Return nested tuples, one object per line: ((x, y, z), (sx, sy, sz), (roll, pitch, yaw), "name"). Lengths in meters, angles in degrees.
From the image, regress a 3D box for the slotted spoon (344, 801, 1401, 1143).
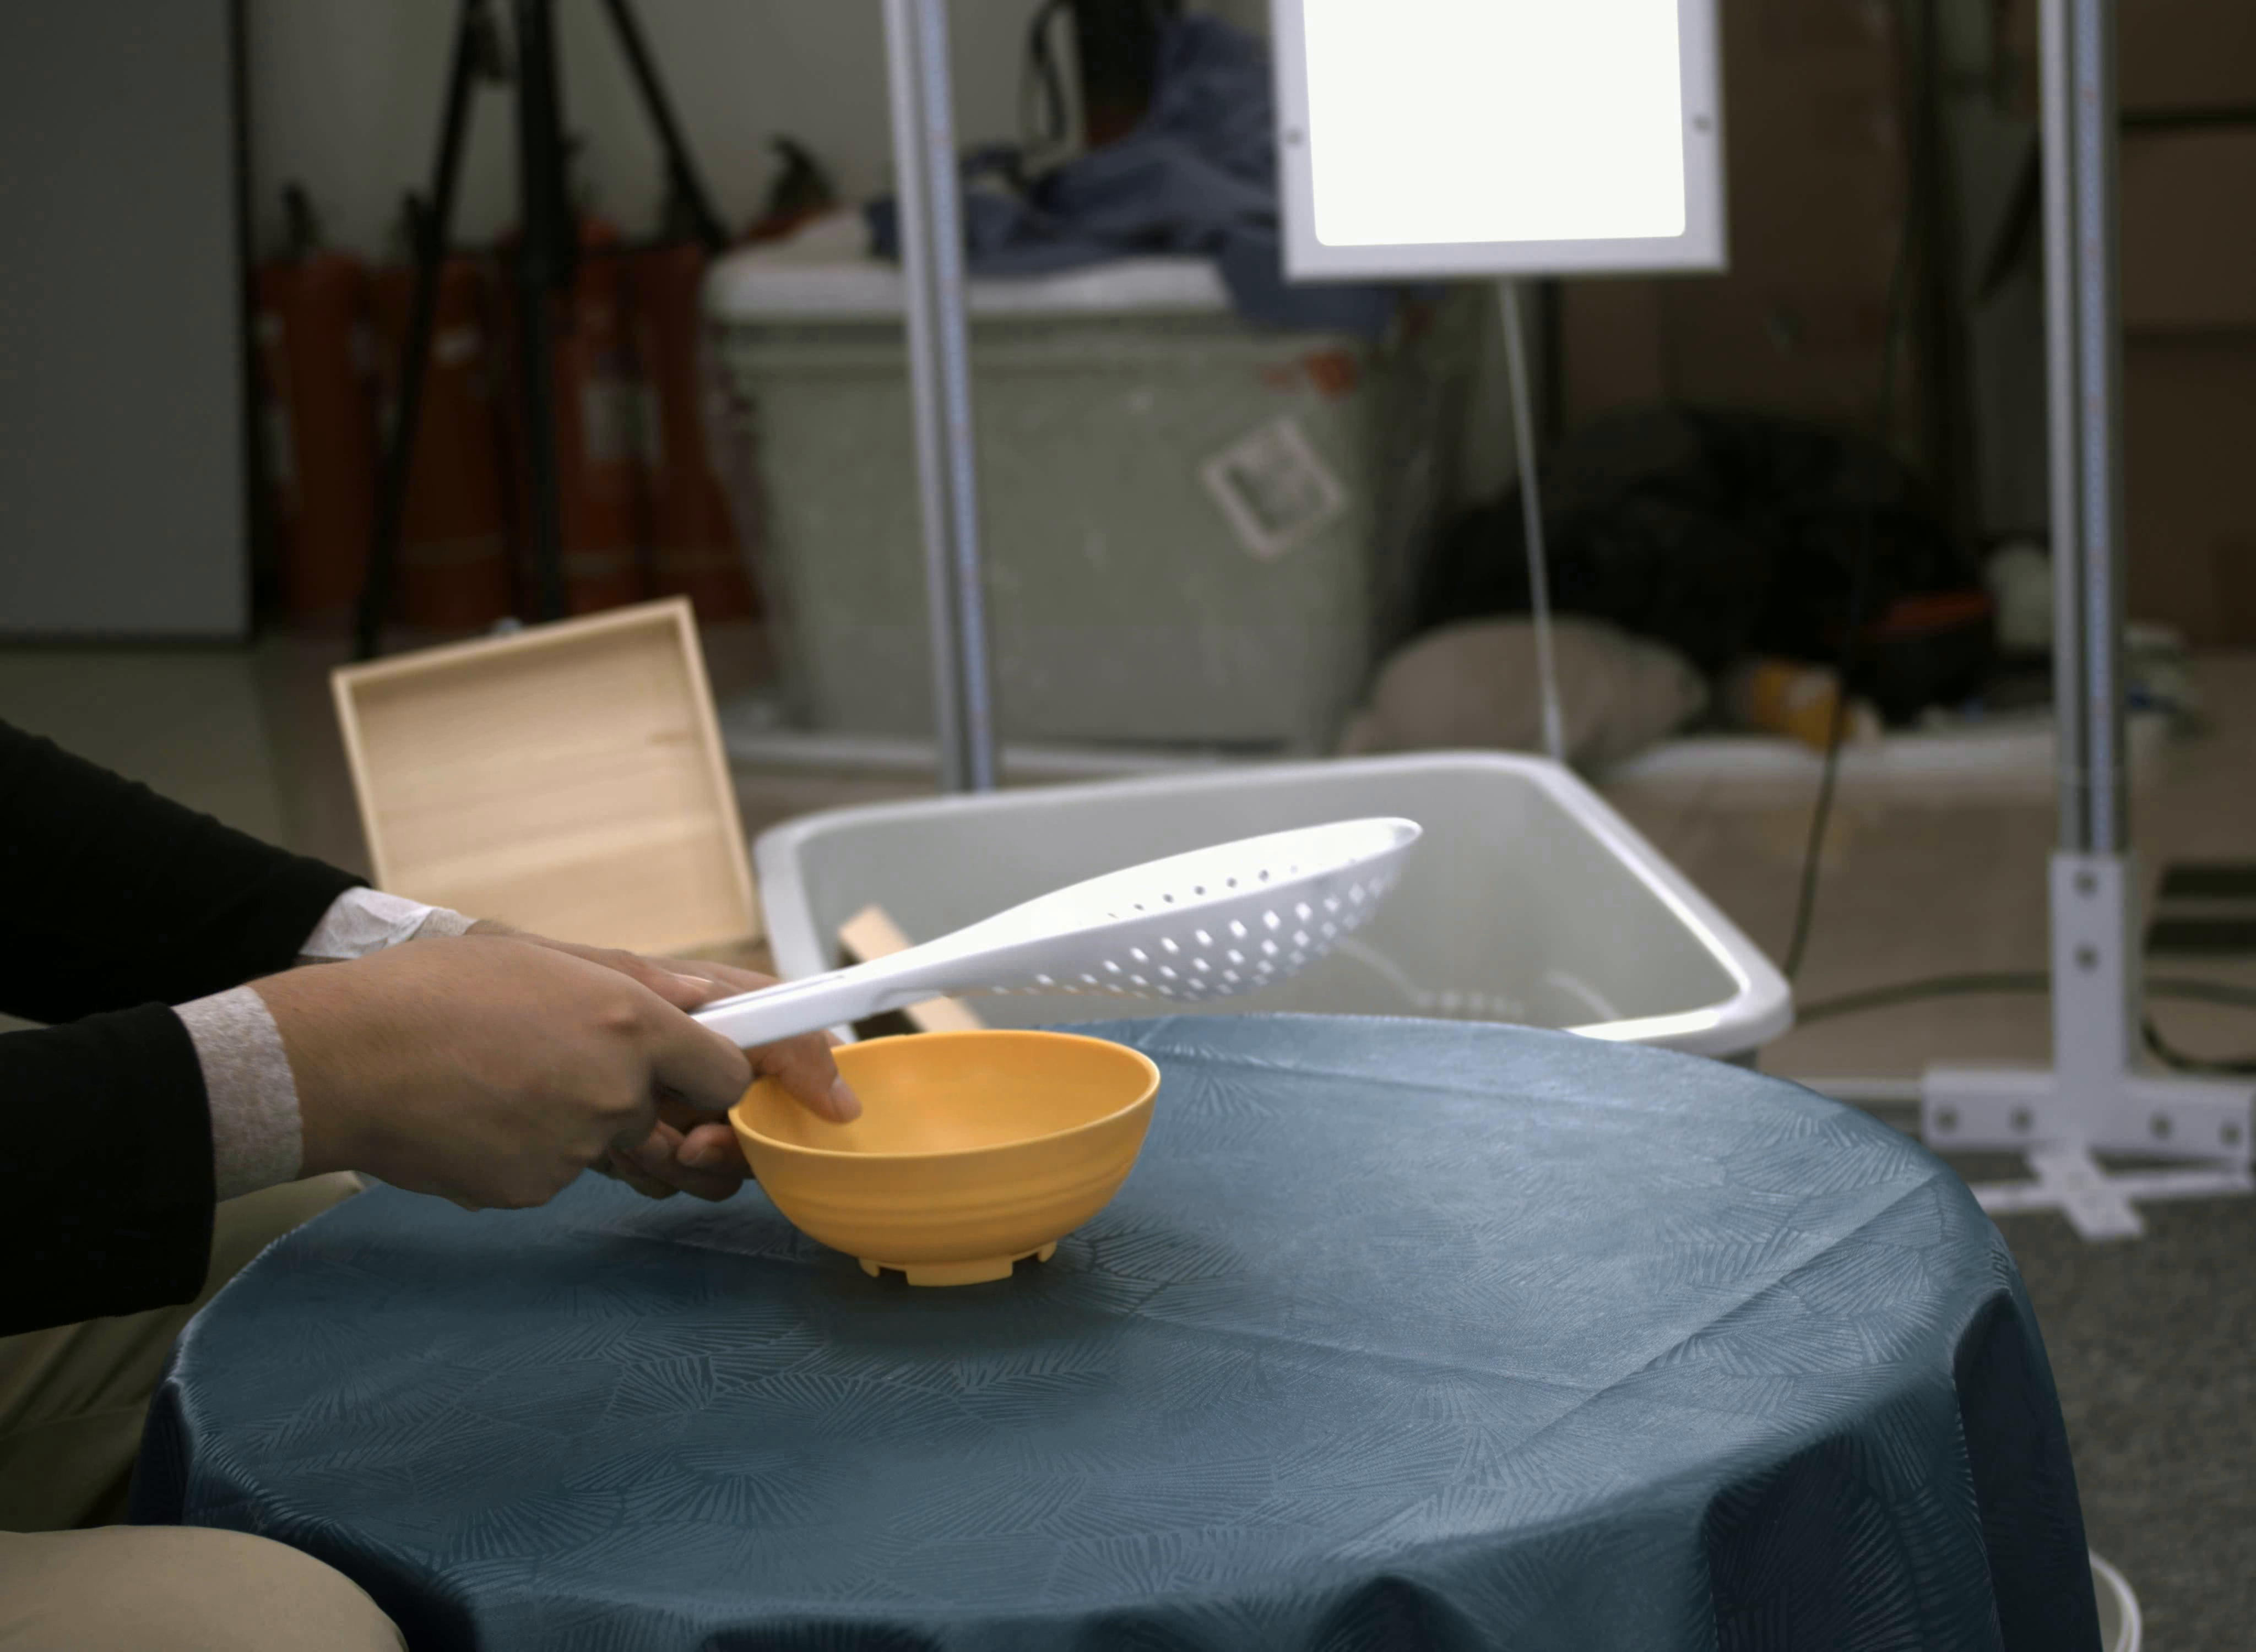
((-0.077, 0.045, 1.738), (0.345, 0.046, 0.137), (-11, 4, -13), "slotted spoon")

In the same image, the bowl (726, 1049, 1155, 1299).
((-0.059, 0.120, 1.841), (0.145, 0.060, 0.145), (-7, 12, 0), "bowl")
